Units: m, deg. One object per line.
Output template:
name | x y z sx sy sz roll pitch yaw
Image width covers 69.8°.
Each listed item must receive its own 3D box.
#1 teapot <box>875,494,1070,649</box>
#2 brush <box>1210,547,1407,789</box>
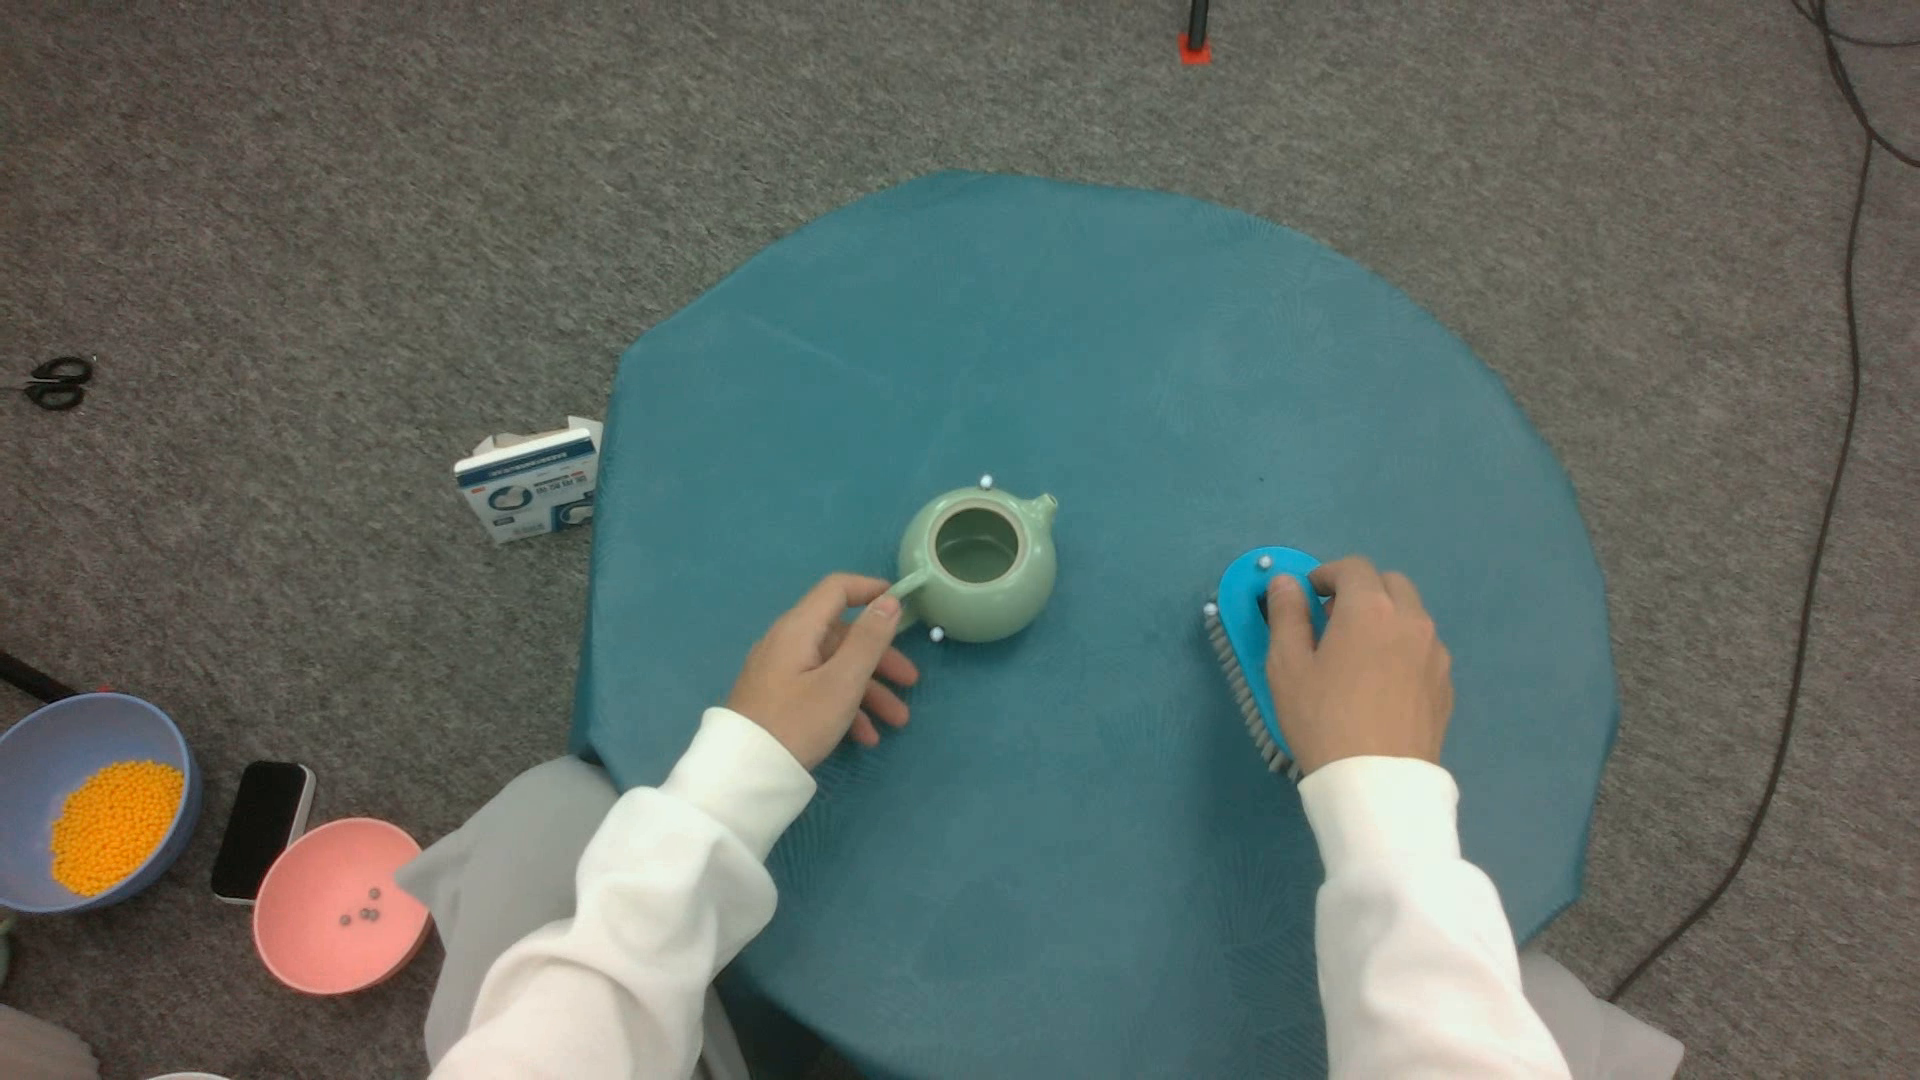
teapot | 0.008 0.023 0.799 0.129 0.061 0.091 -28 69 -12
brush | 0.200 0.064 0.775 0.084 0.063 0.142 -13 65 -12
